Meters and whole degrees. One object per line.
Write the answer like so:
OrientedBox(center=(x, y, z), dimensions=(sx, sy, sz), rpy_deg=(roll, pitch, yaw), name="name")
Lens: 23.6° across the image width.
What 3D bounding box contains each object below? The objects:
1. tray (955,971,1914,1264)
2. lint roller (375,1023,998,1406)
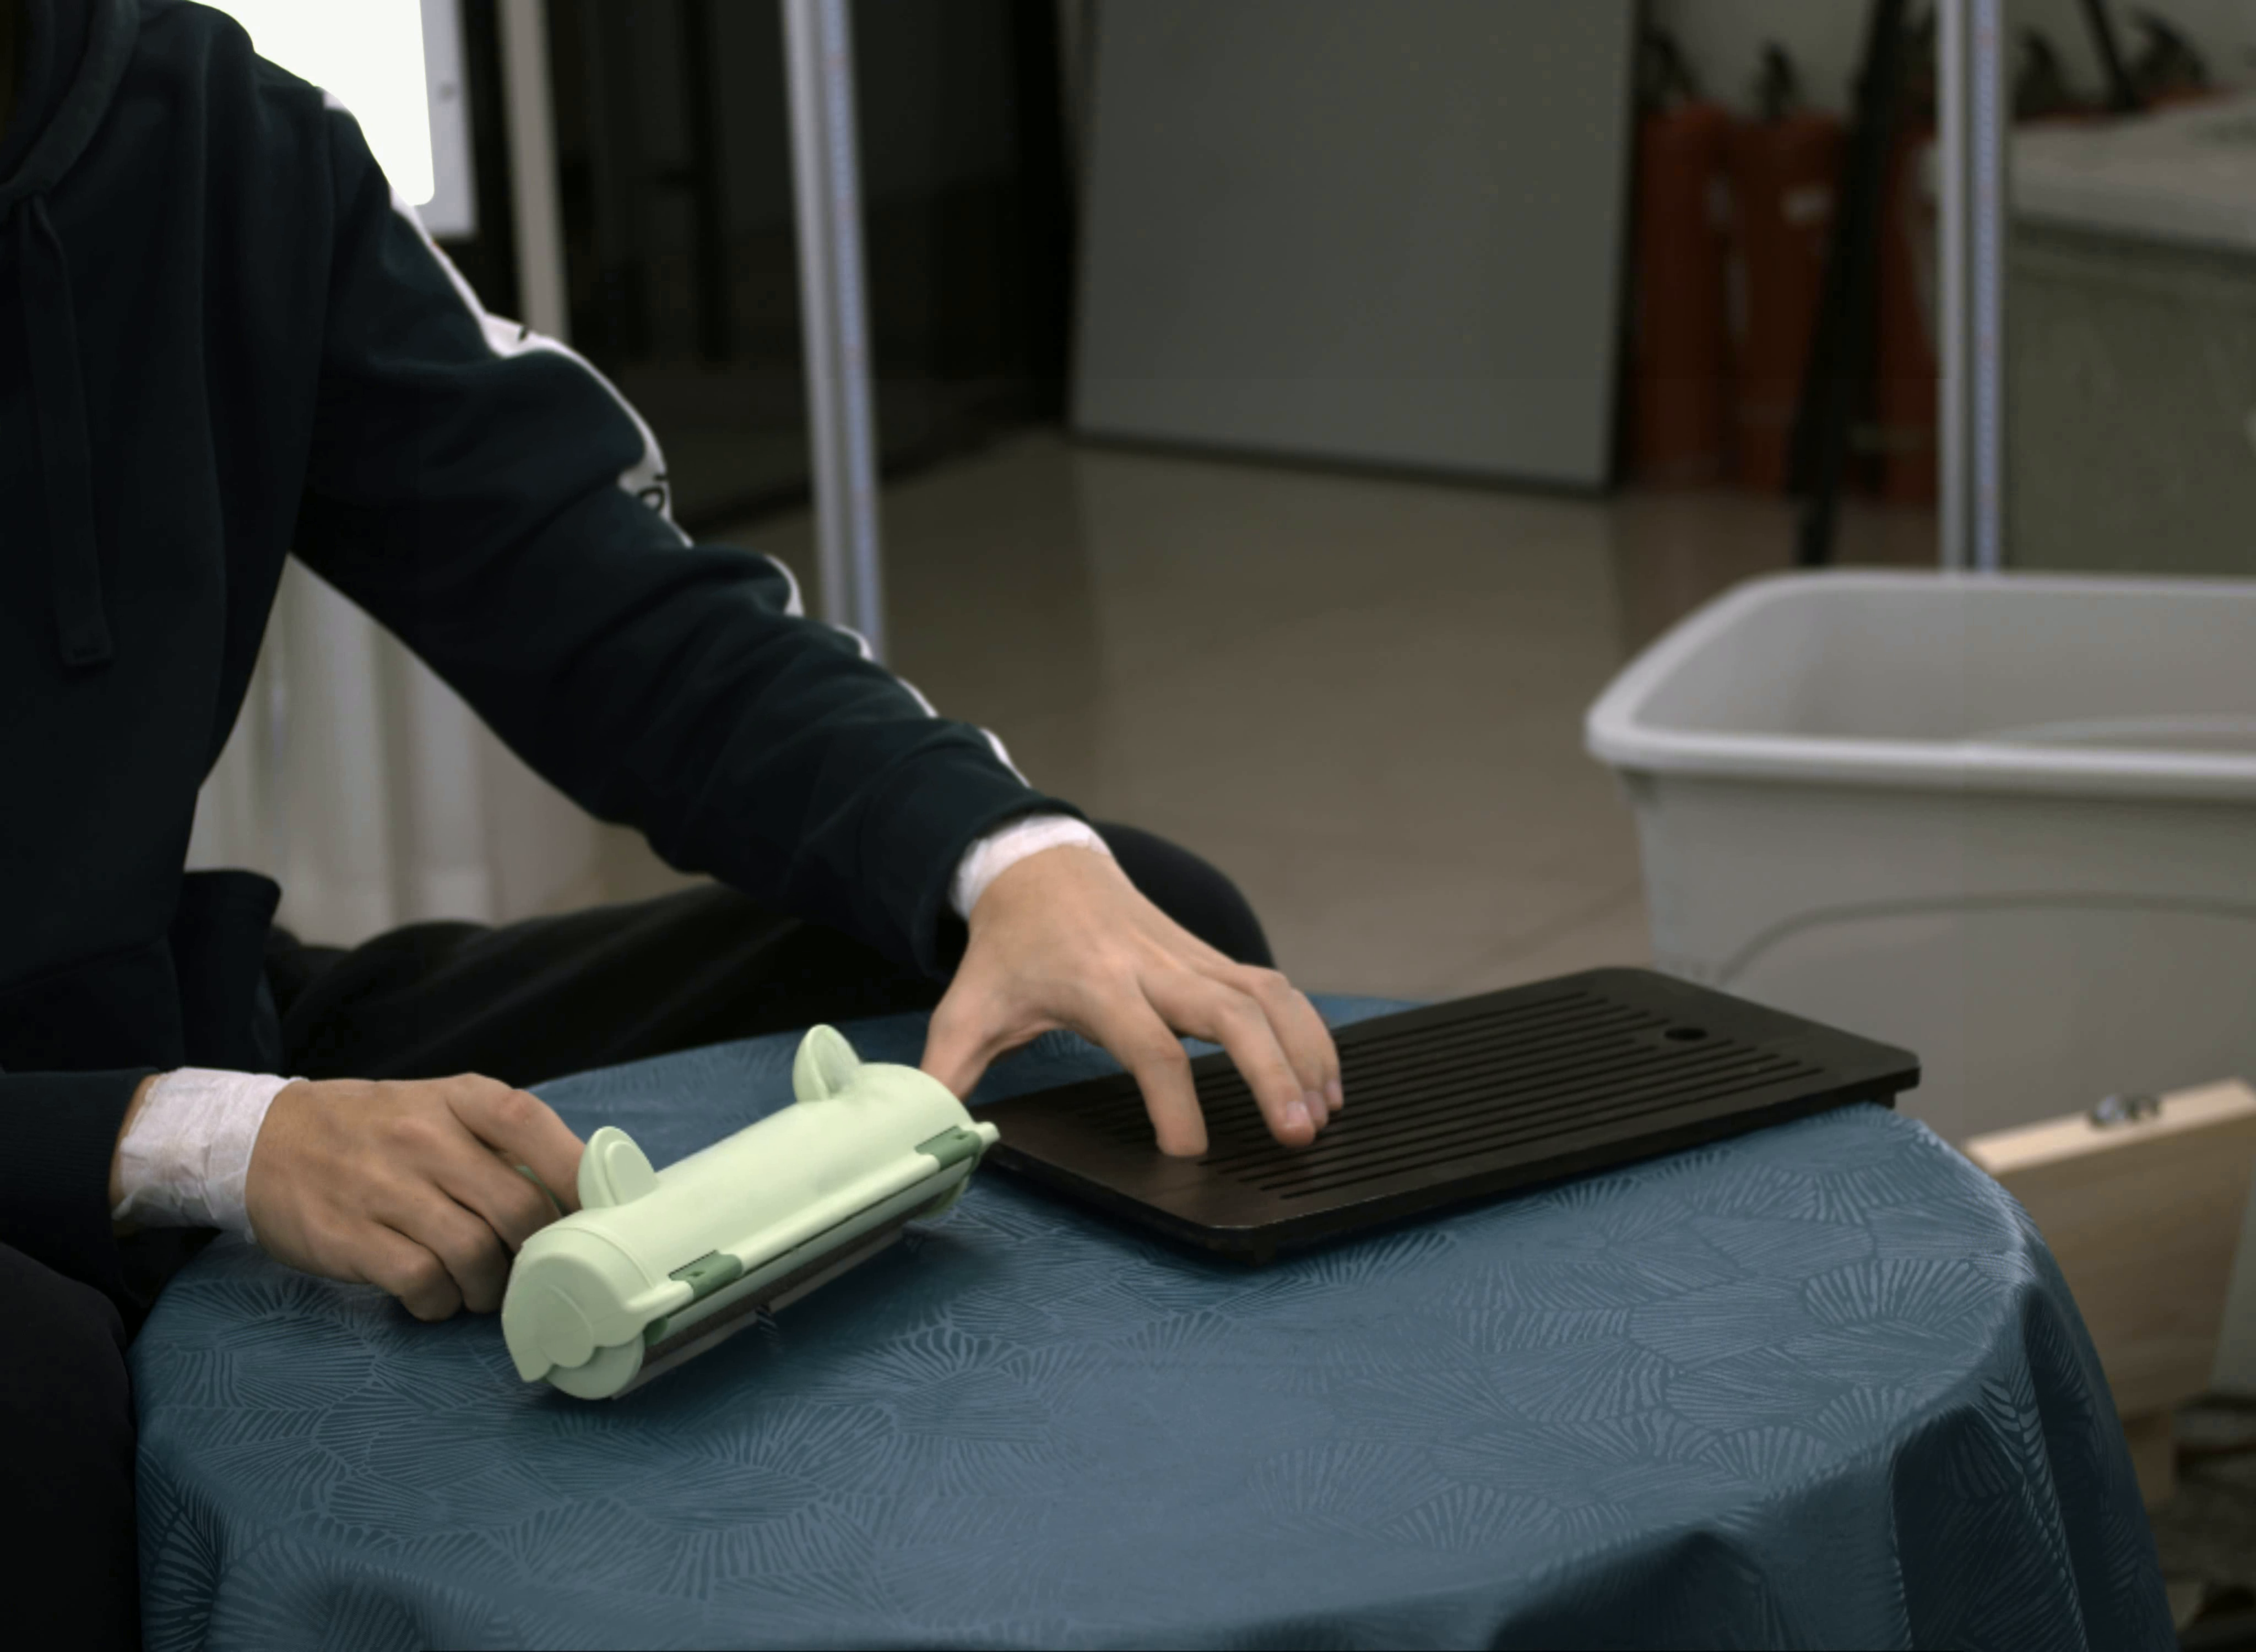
OrientedBox(center=(0.104, 0.097, 1.821), dimensions=(0.299, 0.019, 0.172), rpy_deg=(-11, 16, -32), name="tray")
OrientedBox(center=(-0.164, 0.110, 1.695), dimensions=(0.184, 0.083, 0.195), rpy_deg=(9, 18, 31), name="lint roller")
